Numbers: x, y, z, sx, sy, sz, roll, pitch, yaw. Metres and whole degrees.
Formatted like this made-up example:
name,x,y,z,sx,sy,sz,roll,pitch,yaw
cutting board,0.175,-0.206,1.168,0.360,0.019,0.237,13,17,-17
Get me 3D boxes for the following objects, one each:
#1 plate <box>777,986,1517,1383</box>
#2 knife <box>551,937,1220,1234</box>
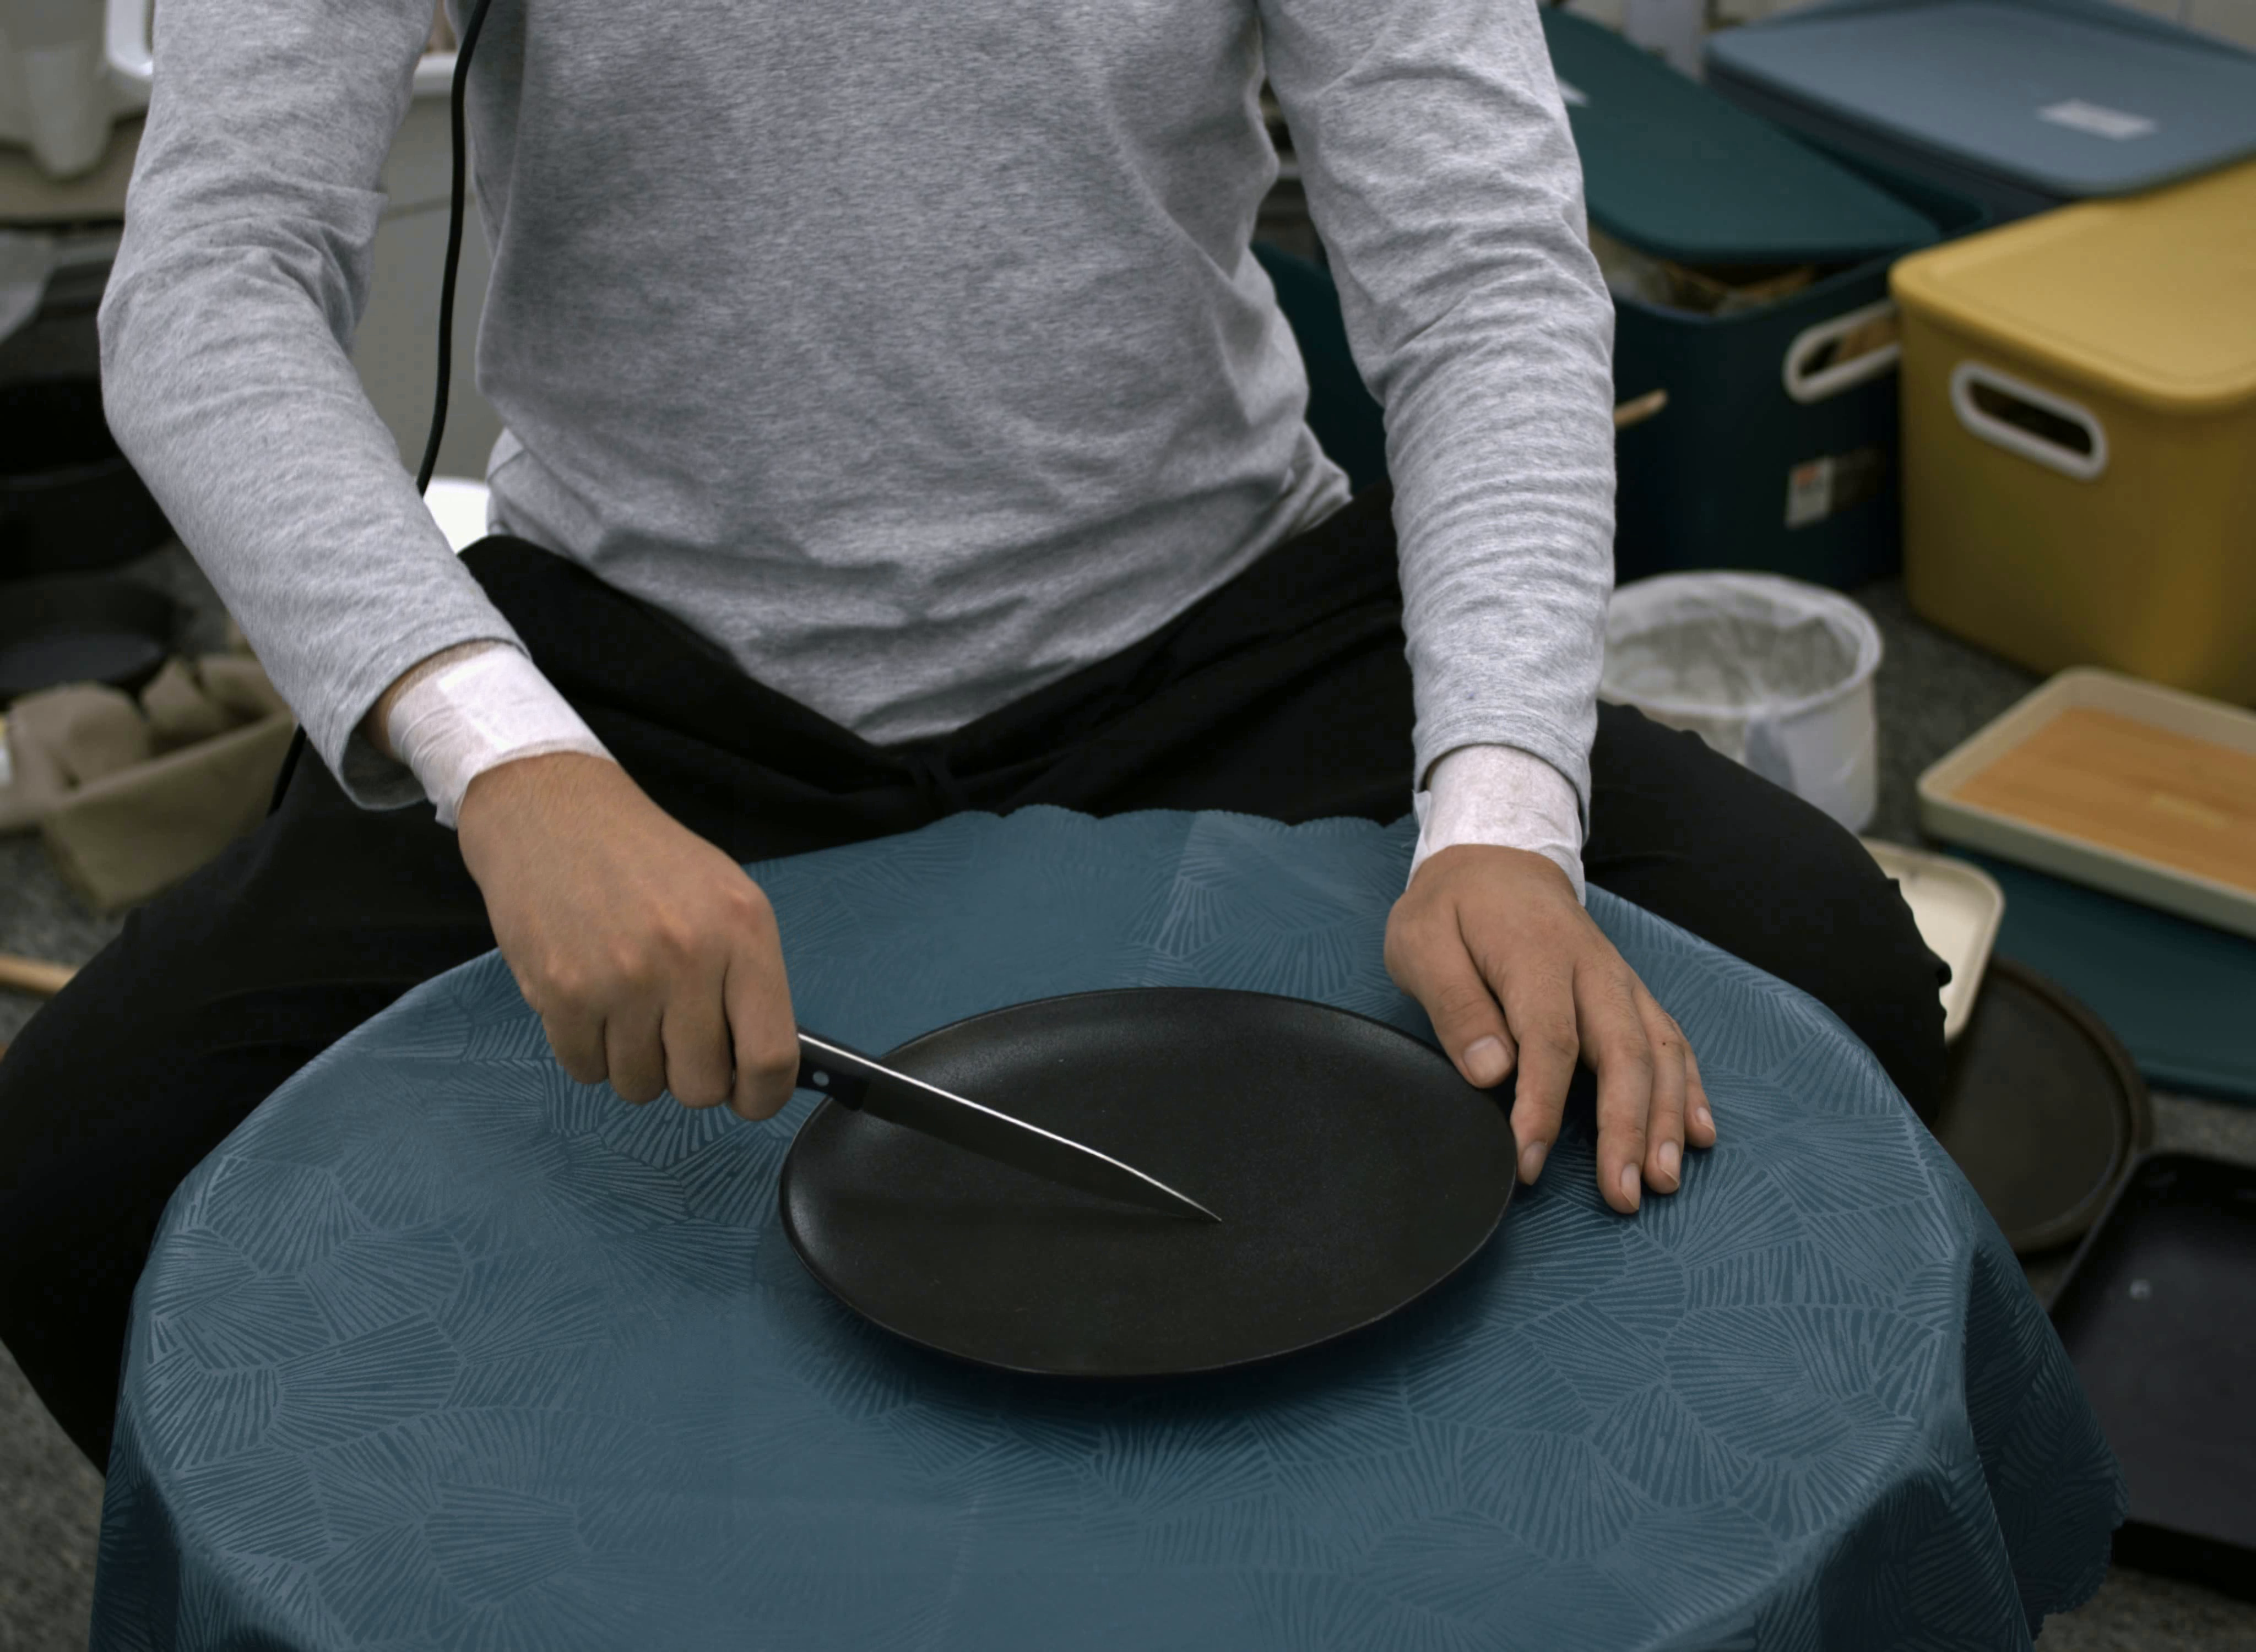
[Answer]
name,x,y,z,sx,sy,sz,roll,pitch,yaw
plate,0.006,0.121,1.838,0.243,0.023,0.248,-2,27,1
knife,-0.079,0.086,1.838,0.237,0.024,0.016,22,39,6
